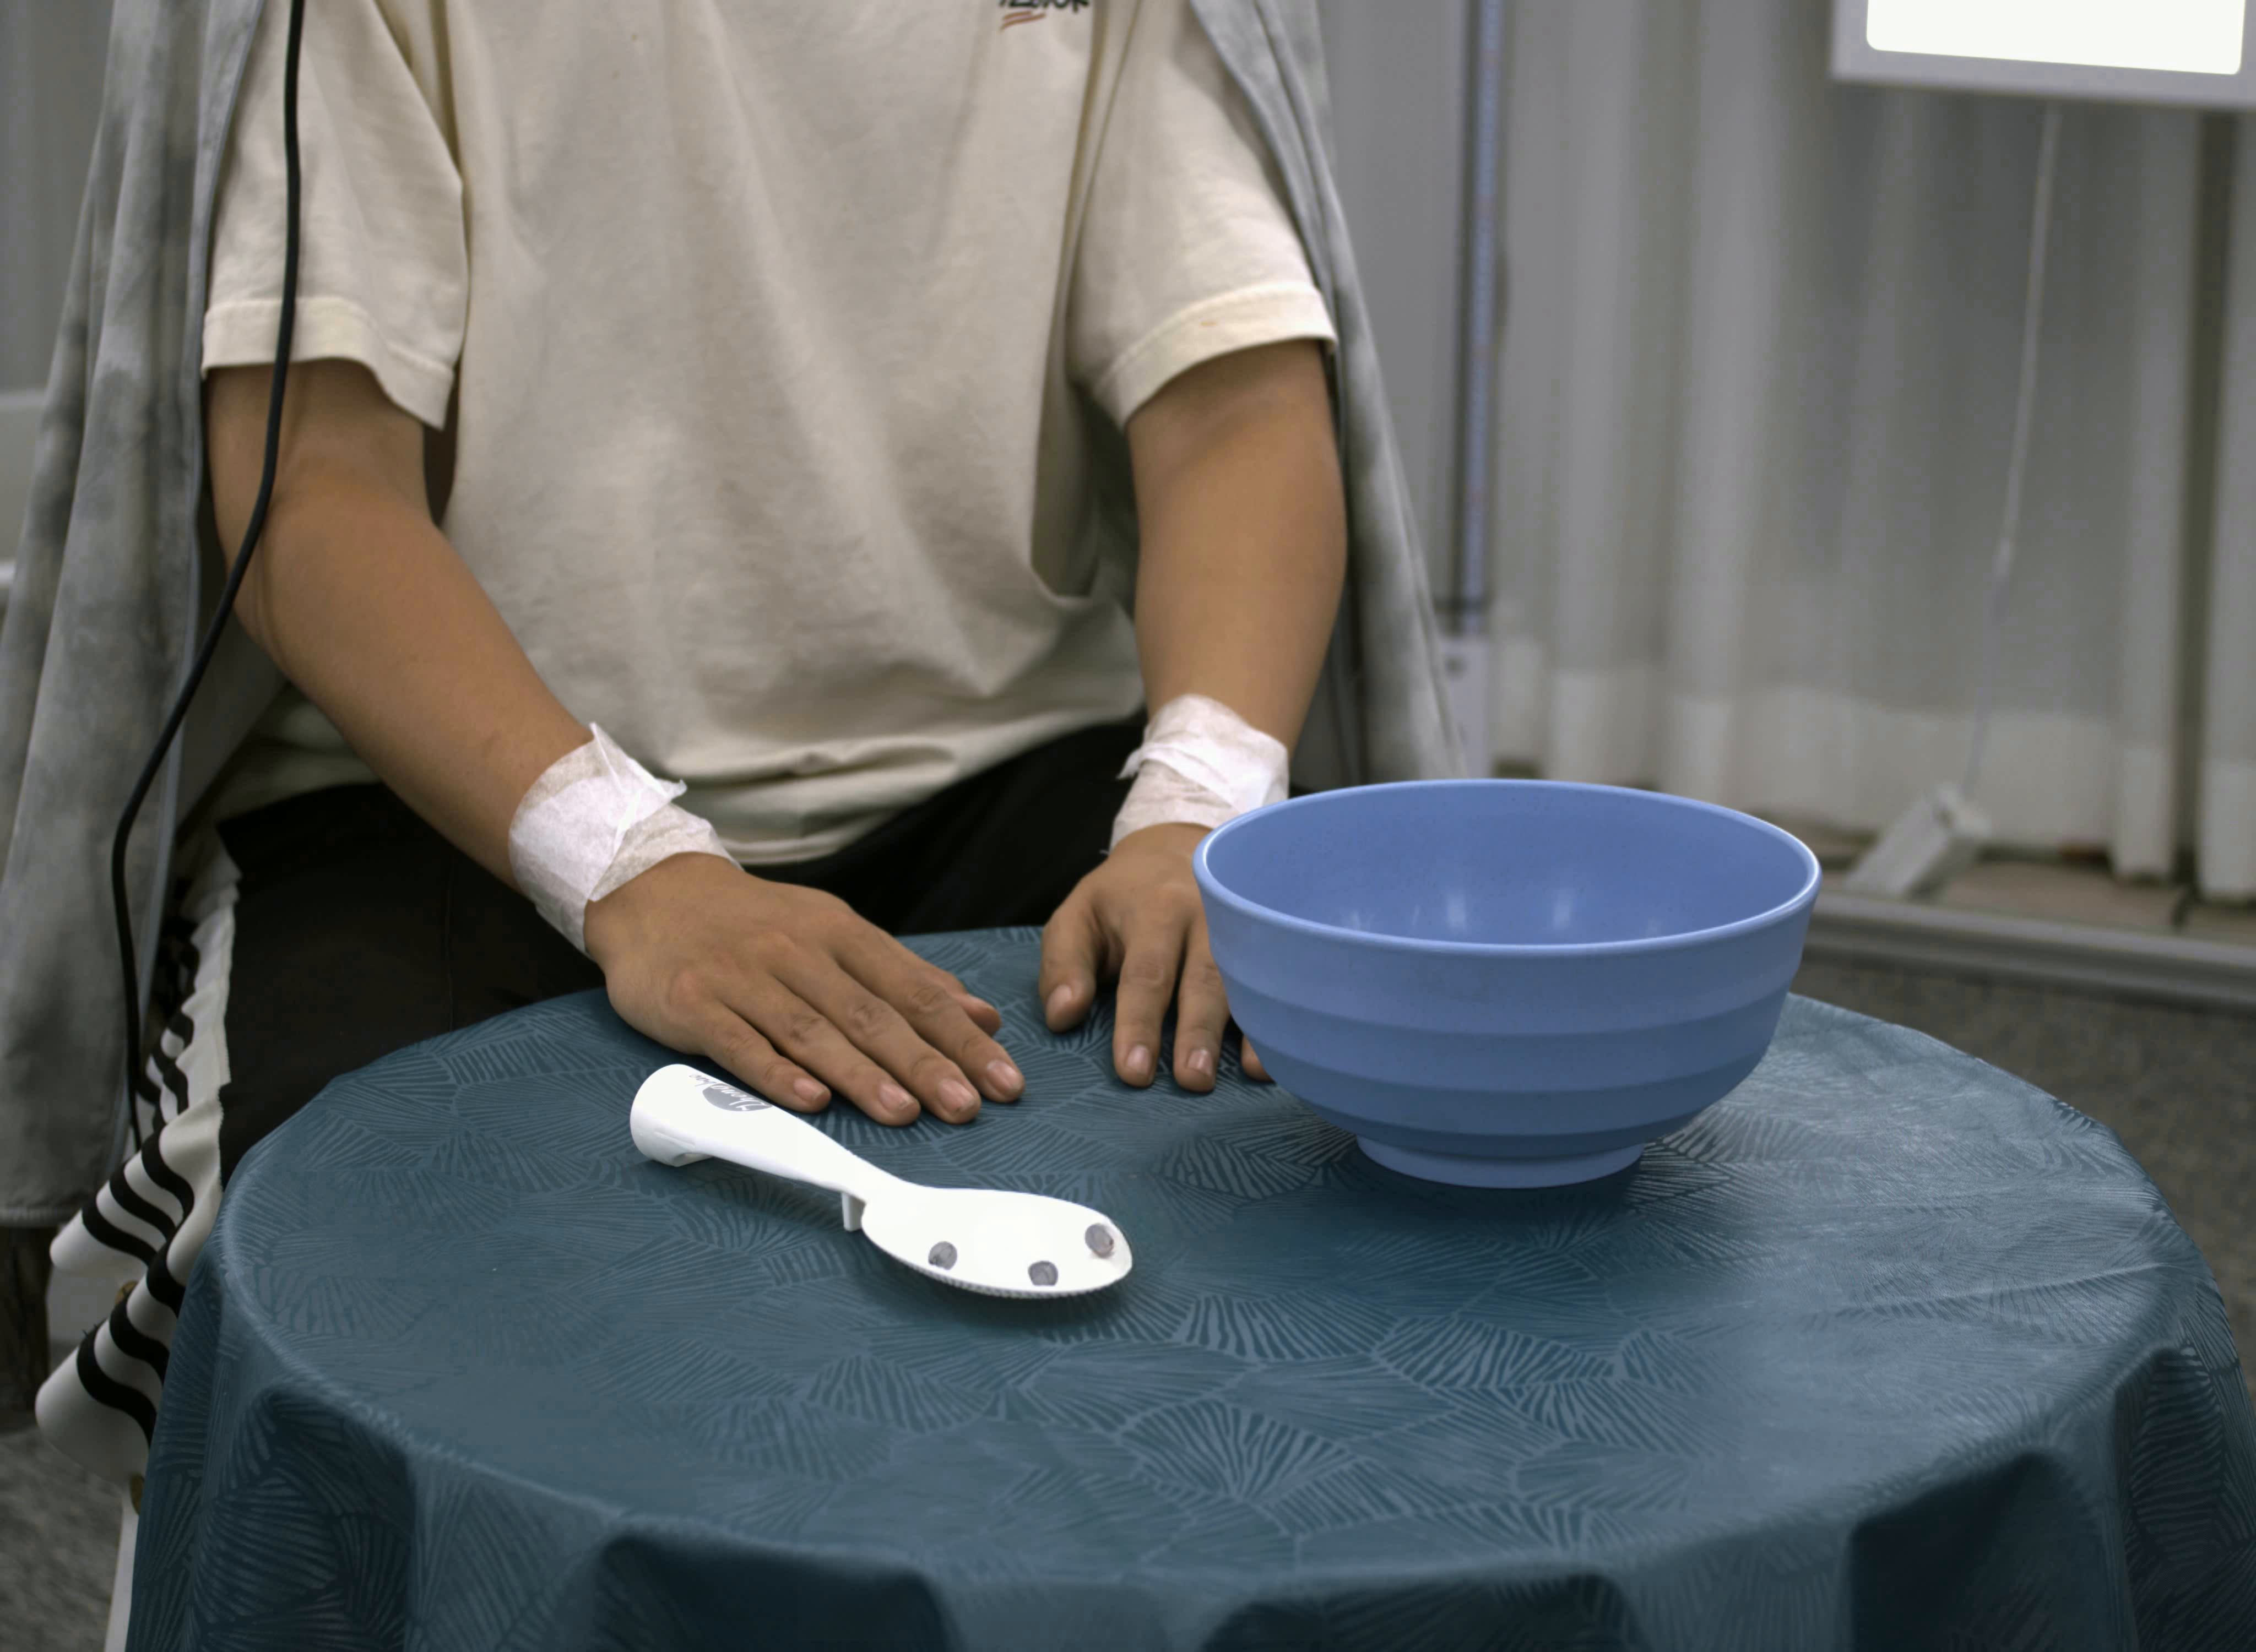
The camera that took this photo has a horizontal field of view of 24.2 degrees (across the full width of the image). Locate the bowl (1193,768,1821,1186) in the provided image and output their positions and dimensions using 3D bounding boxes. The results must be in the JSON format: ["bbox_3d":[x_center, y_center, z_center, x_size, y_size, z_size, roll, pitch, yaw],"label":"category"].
[{"bbox_3d":[0.118,0.053,1.661,0.196,0.096,0.195,0,18,0],"label":"bowl"}]

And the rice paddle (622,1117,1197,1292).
[{"bbox_3d":[-0.066,0.115,1.575,0.203,0.029,0.069,8,4,36],"label":"rice paddle"}]
